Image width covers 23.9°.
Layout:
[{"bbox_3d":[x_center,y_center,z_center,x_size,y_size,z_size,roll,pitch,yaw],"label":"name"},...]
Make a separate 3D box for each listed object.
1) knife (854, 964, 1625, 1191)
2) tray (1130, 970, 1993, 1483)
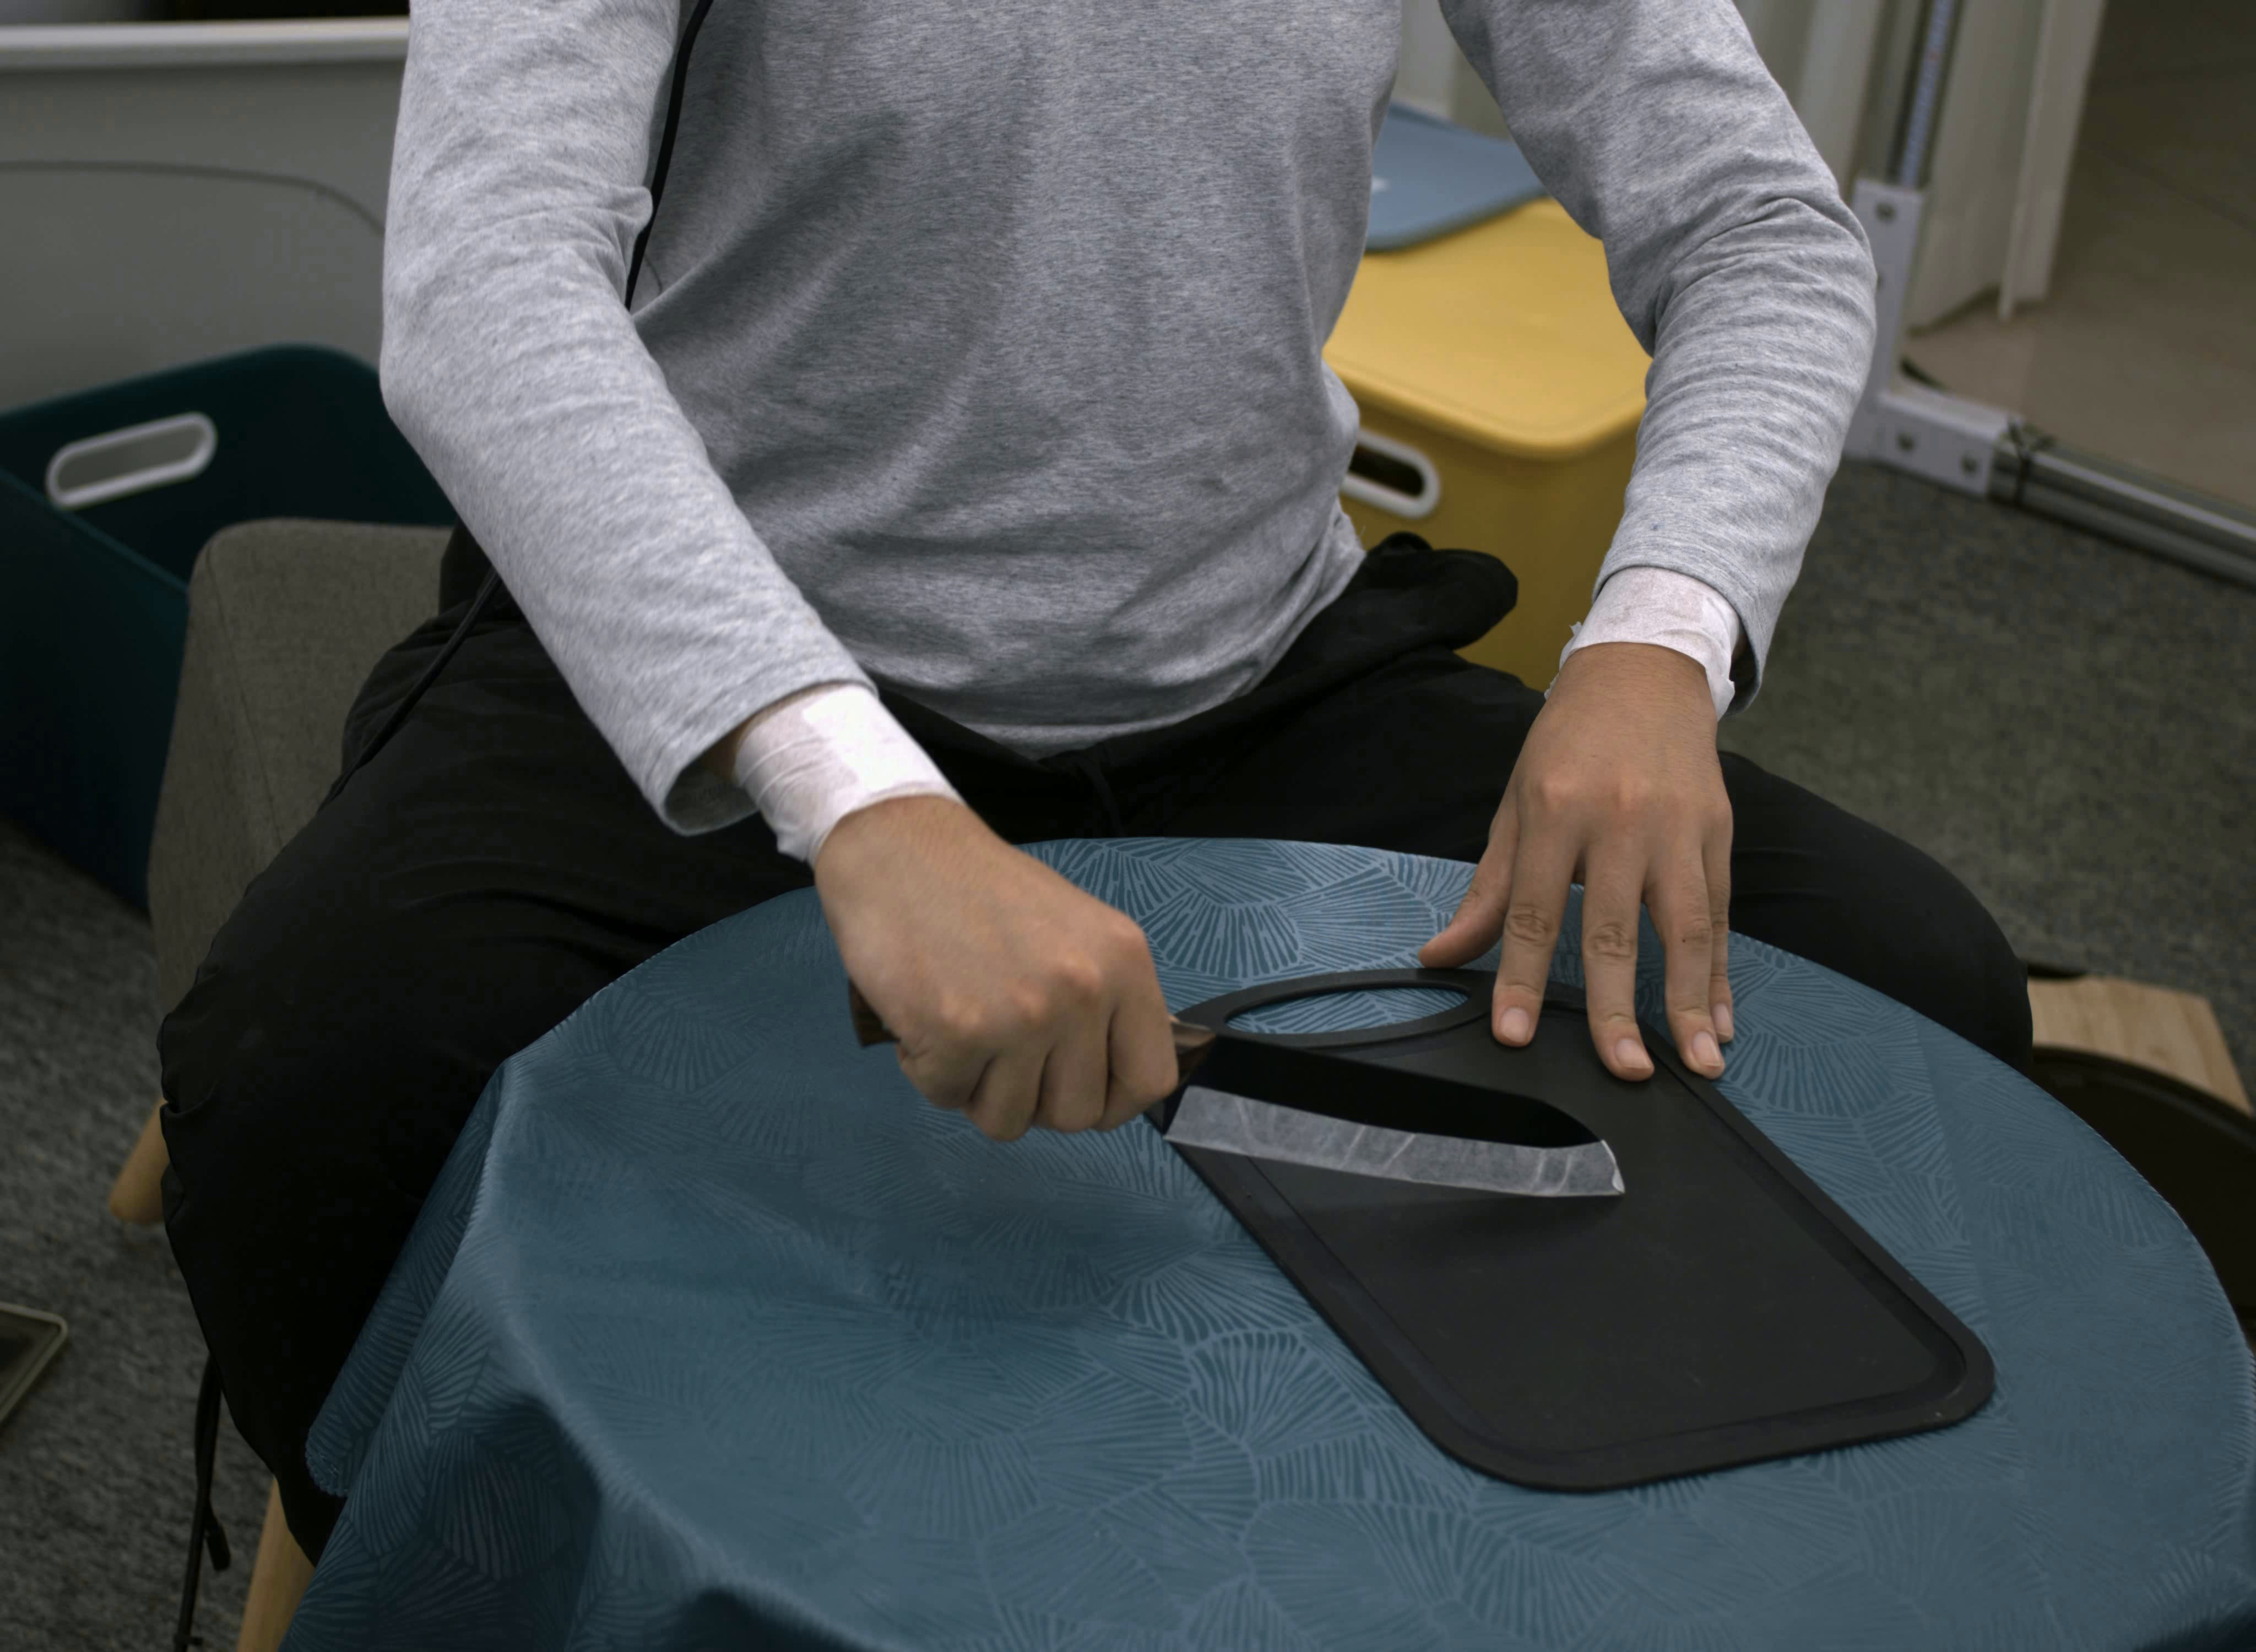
[{"bbox_3d":[0.040,0.087,1.785,0.287,0.050,0.020,14,26,-19],"label":"knife"},{"bbox_3d":[0.139,0.127,1.823,0.210,0.010,0.328,-6,29,-24],"label":"tray"}]
